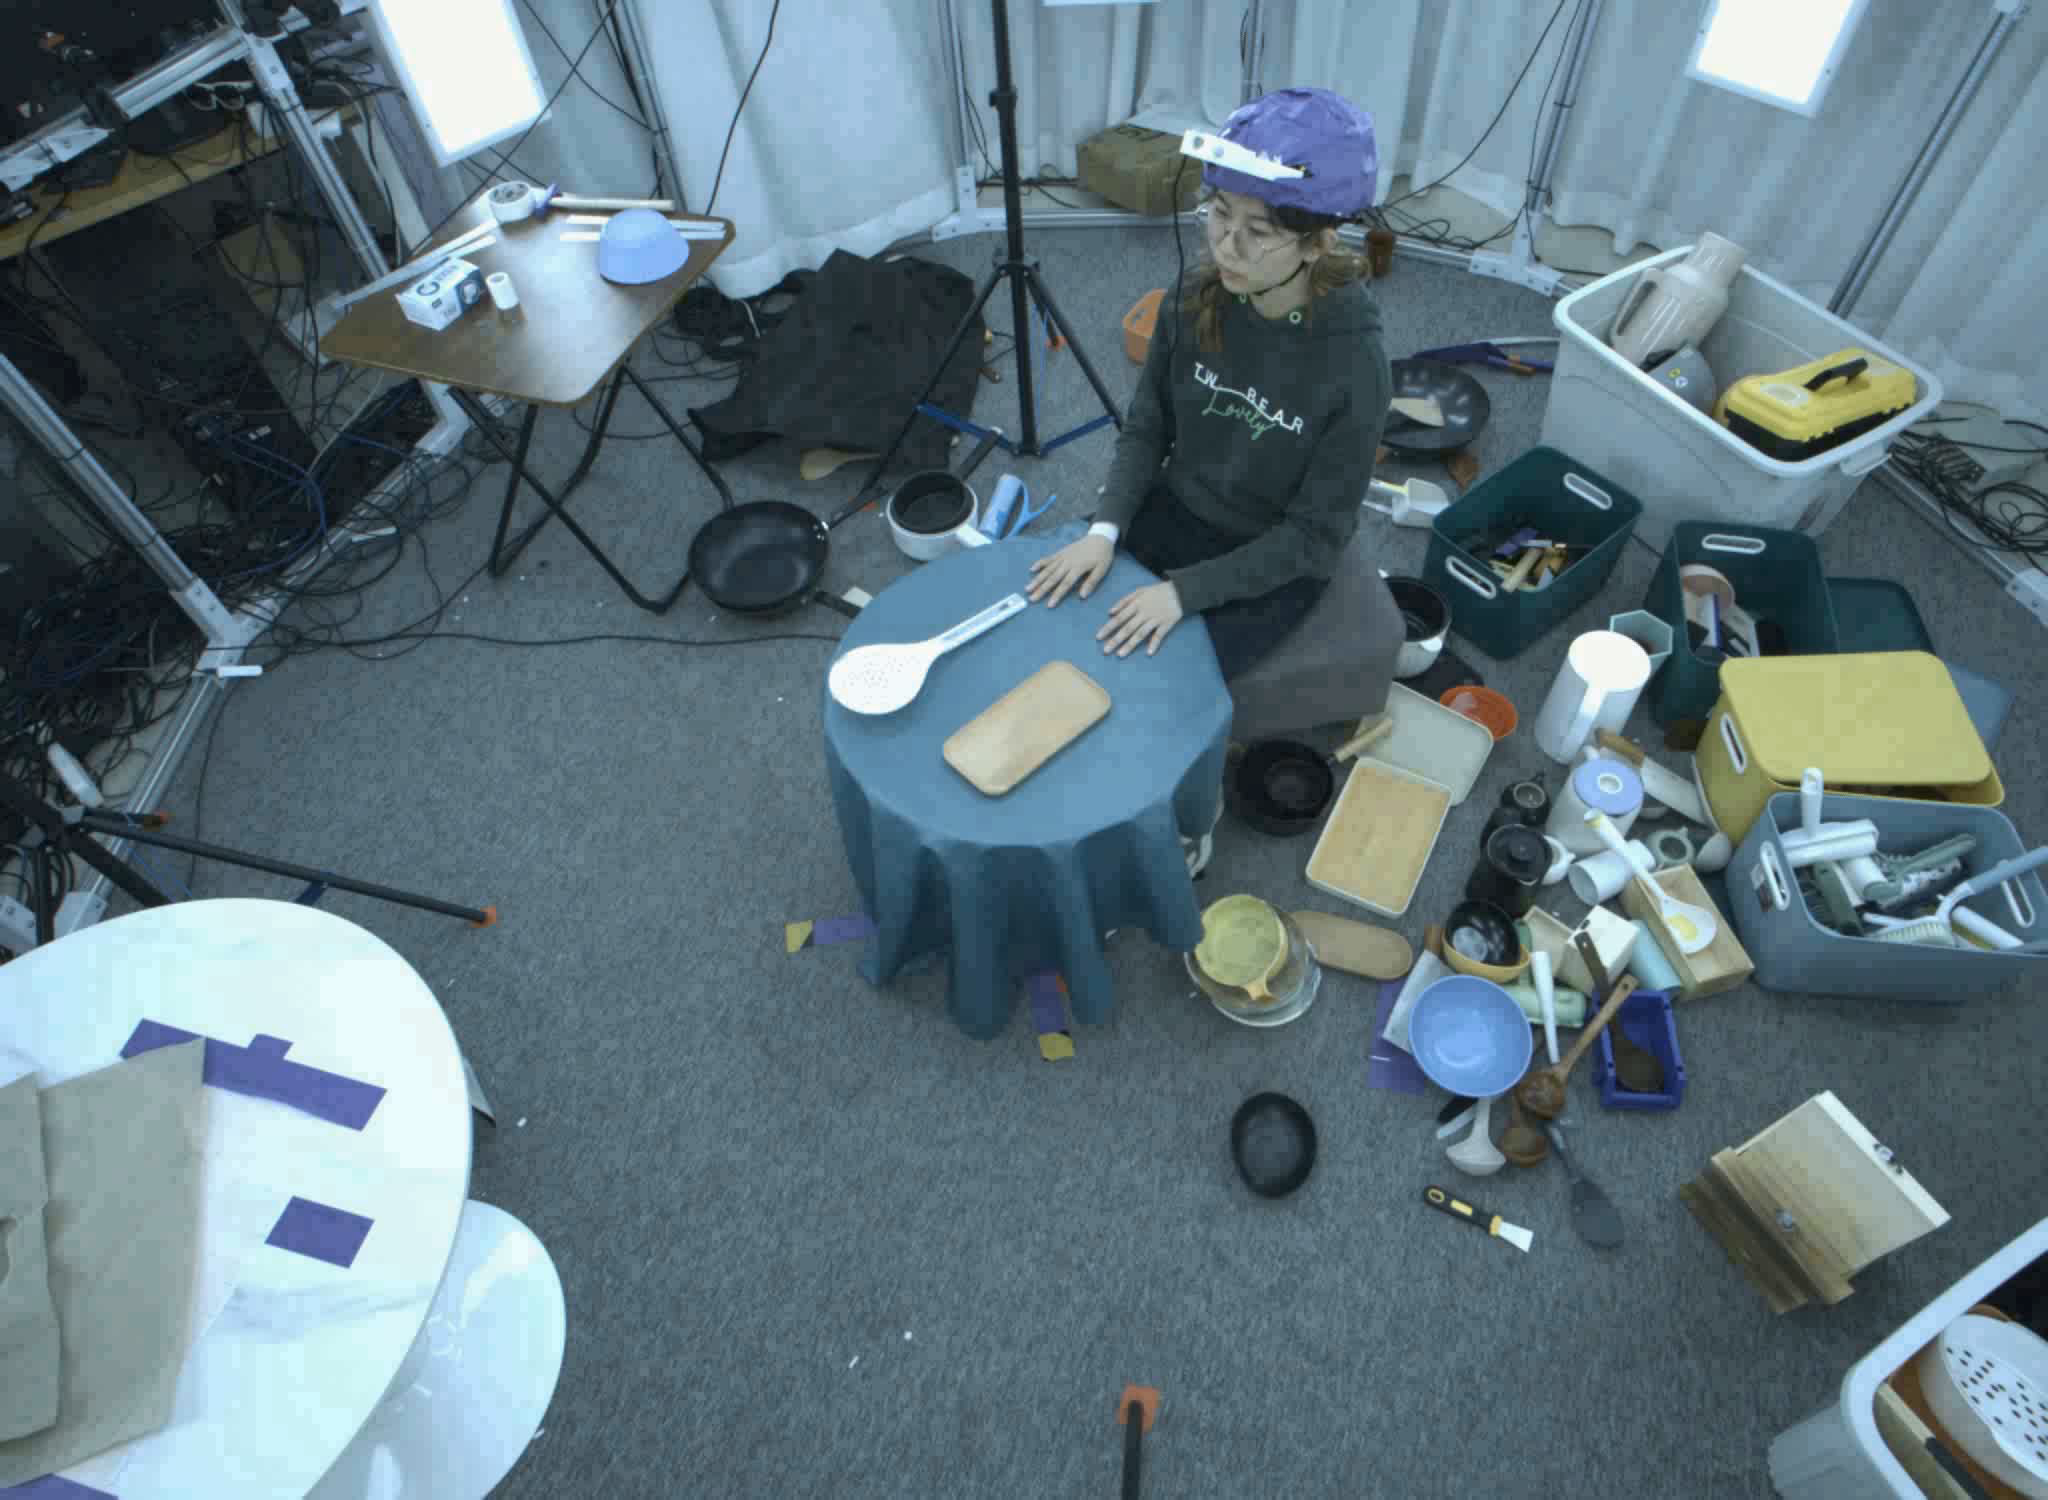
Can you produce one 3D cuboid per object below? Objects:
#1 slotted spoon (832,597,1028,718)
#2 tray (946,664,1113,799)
[{"bbox_3d":[-0.136,-0.150,1.879,0.352,0.046,0.133,-34,63,-21],"label":"slotted spoon"},{"bbox_3d":[0.009,-0.030,1.808,0.252,0.023,0.128,-38,64,-23],"label":"tray"}]
